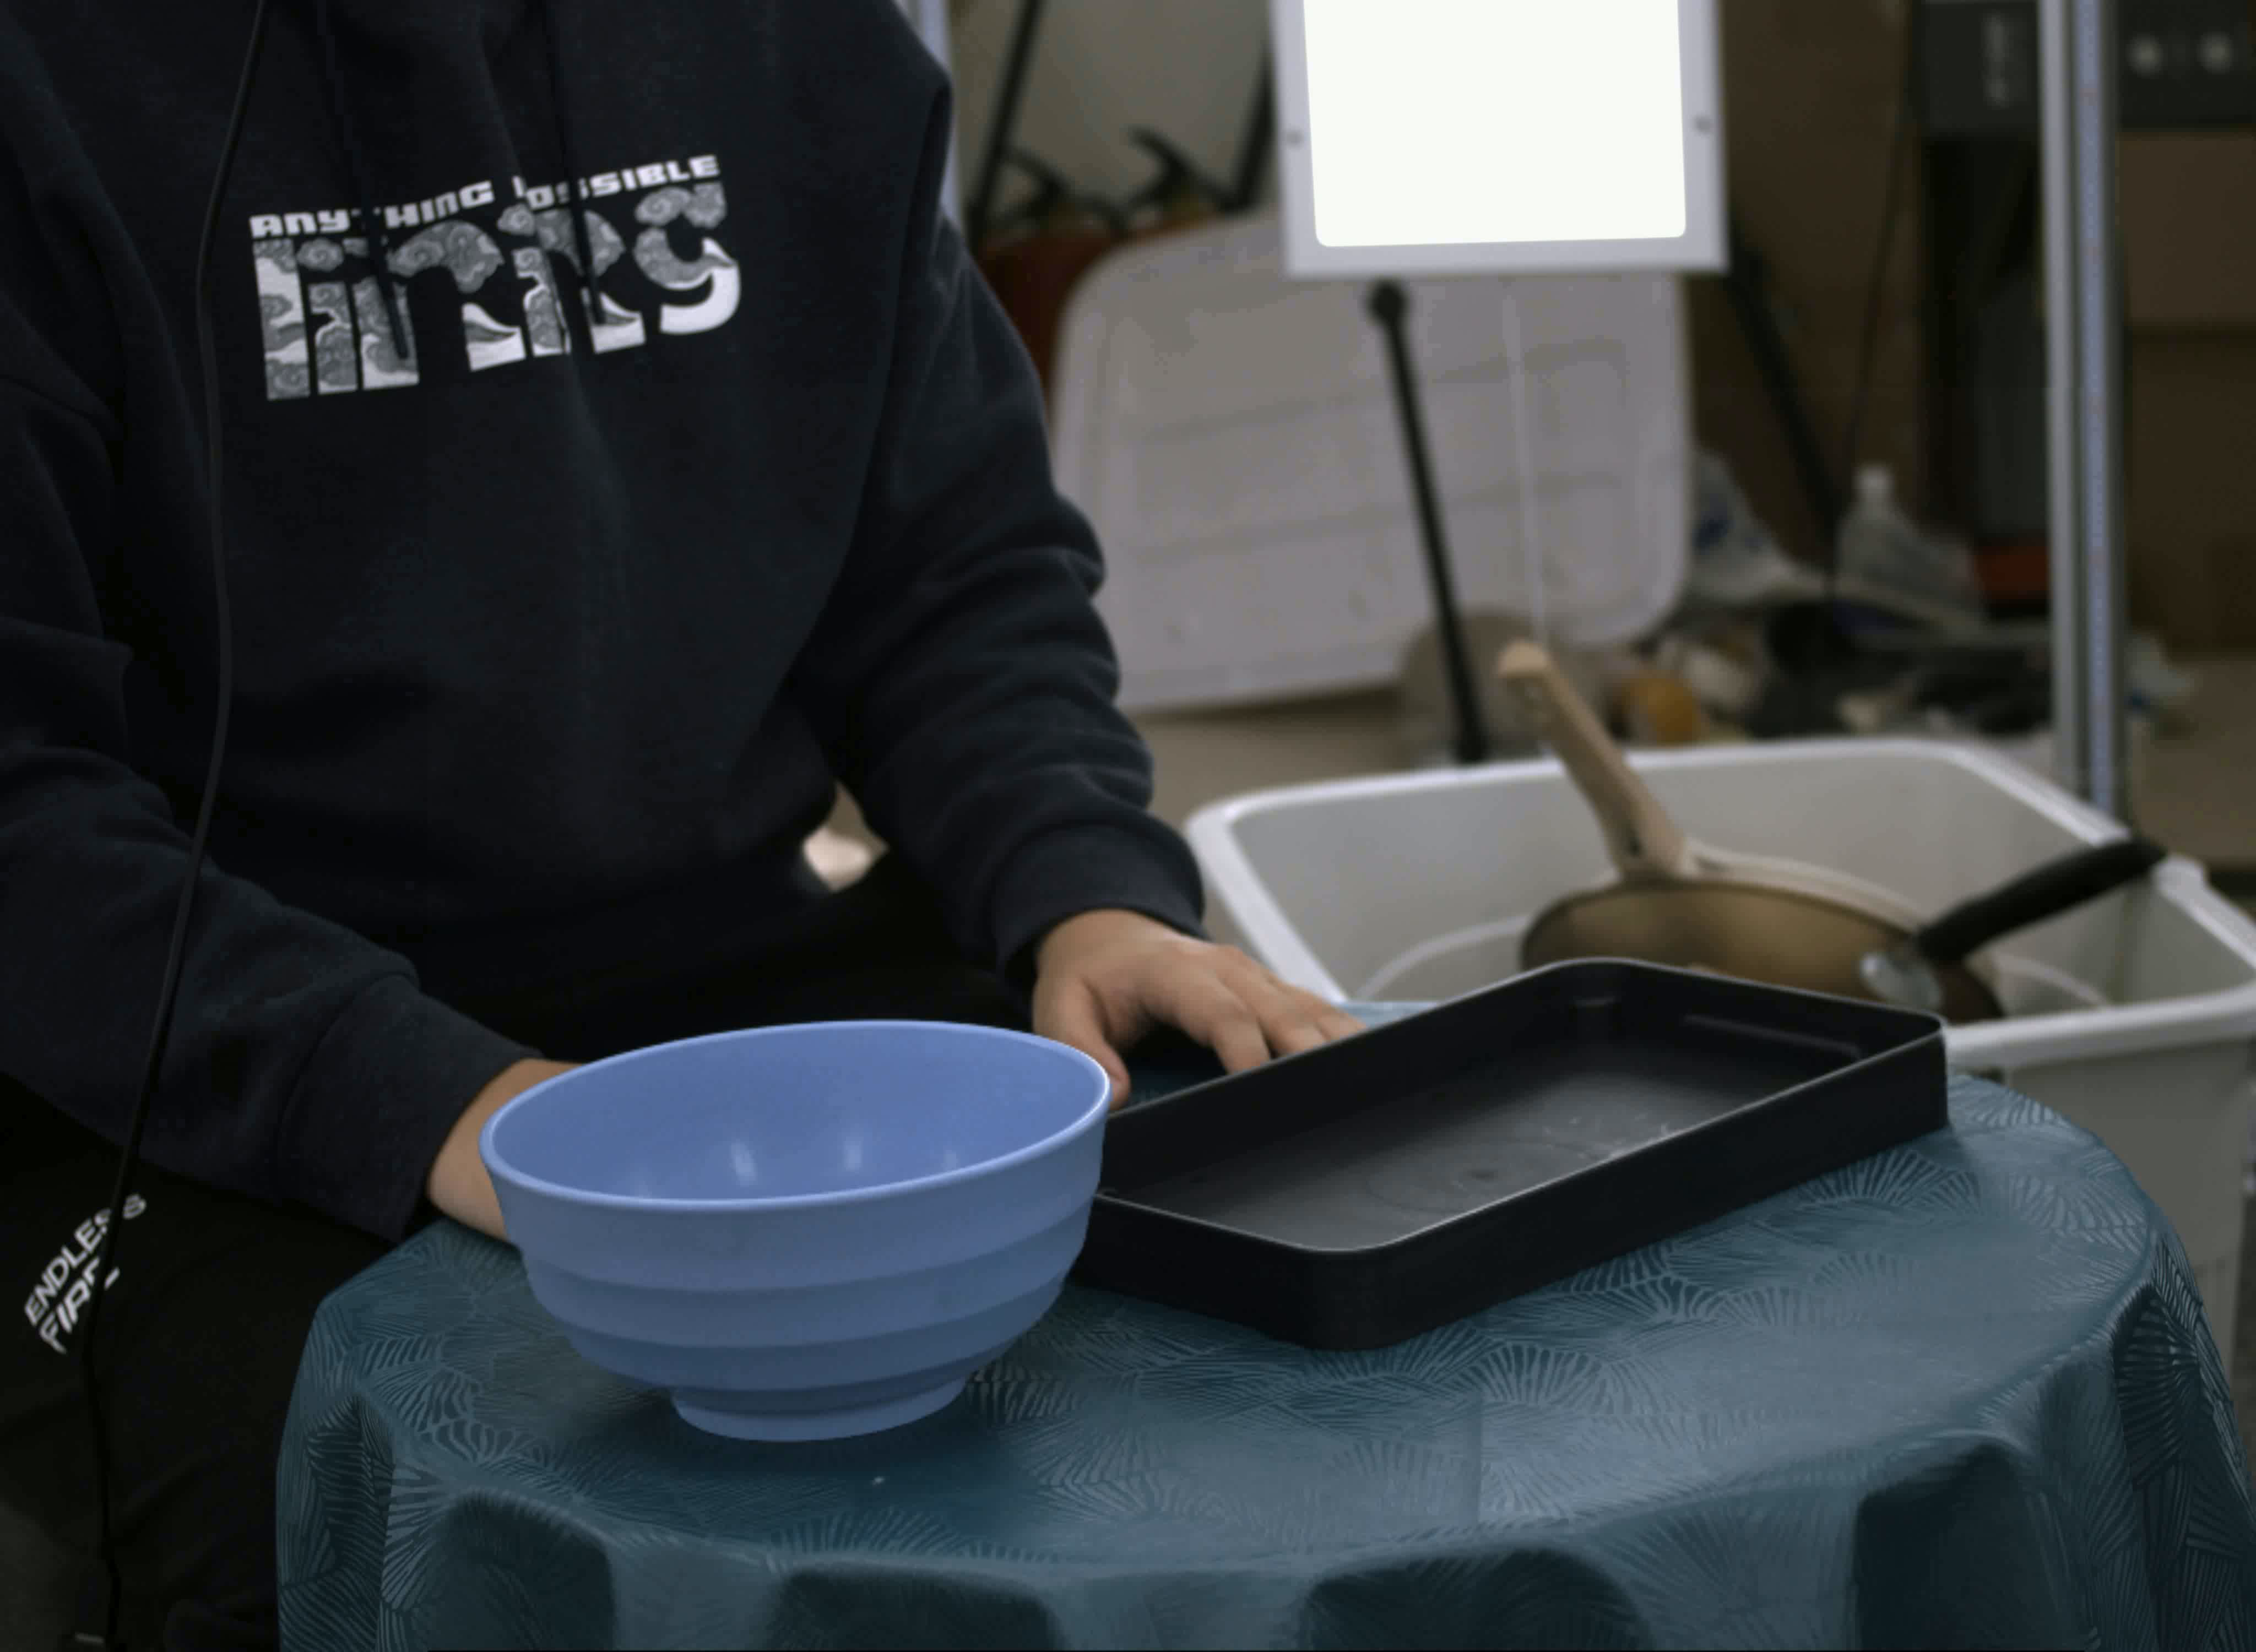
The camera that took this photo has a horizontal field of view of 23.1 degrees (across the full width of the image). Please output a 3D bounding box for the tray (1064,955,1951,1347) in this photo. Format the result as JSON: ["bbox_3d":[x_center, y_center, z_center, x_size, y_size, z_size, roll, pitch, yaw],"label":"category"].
[{"bbox_3d":[0.120,0.105,1.865,0.310,0.037,0.188,-16,17,-40],"label":"tray"}]

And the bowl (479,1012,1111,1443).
[{"bbox_3d":[-0.098,0.131,1.712,0.196,0.096,0.196,-6,15,0],"label":"bowl"}]
